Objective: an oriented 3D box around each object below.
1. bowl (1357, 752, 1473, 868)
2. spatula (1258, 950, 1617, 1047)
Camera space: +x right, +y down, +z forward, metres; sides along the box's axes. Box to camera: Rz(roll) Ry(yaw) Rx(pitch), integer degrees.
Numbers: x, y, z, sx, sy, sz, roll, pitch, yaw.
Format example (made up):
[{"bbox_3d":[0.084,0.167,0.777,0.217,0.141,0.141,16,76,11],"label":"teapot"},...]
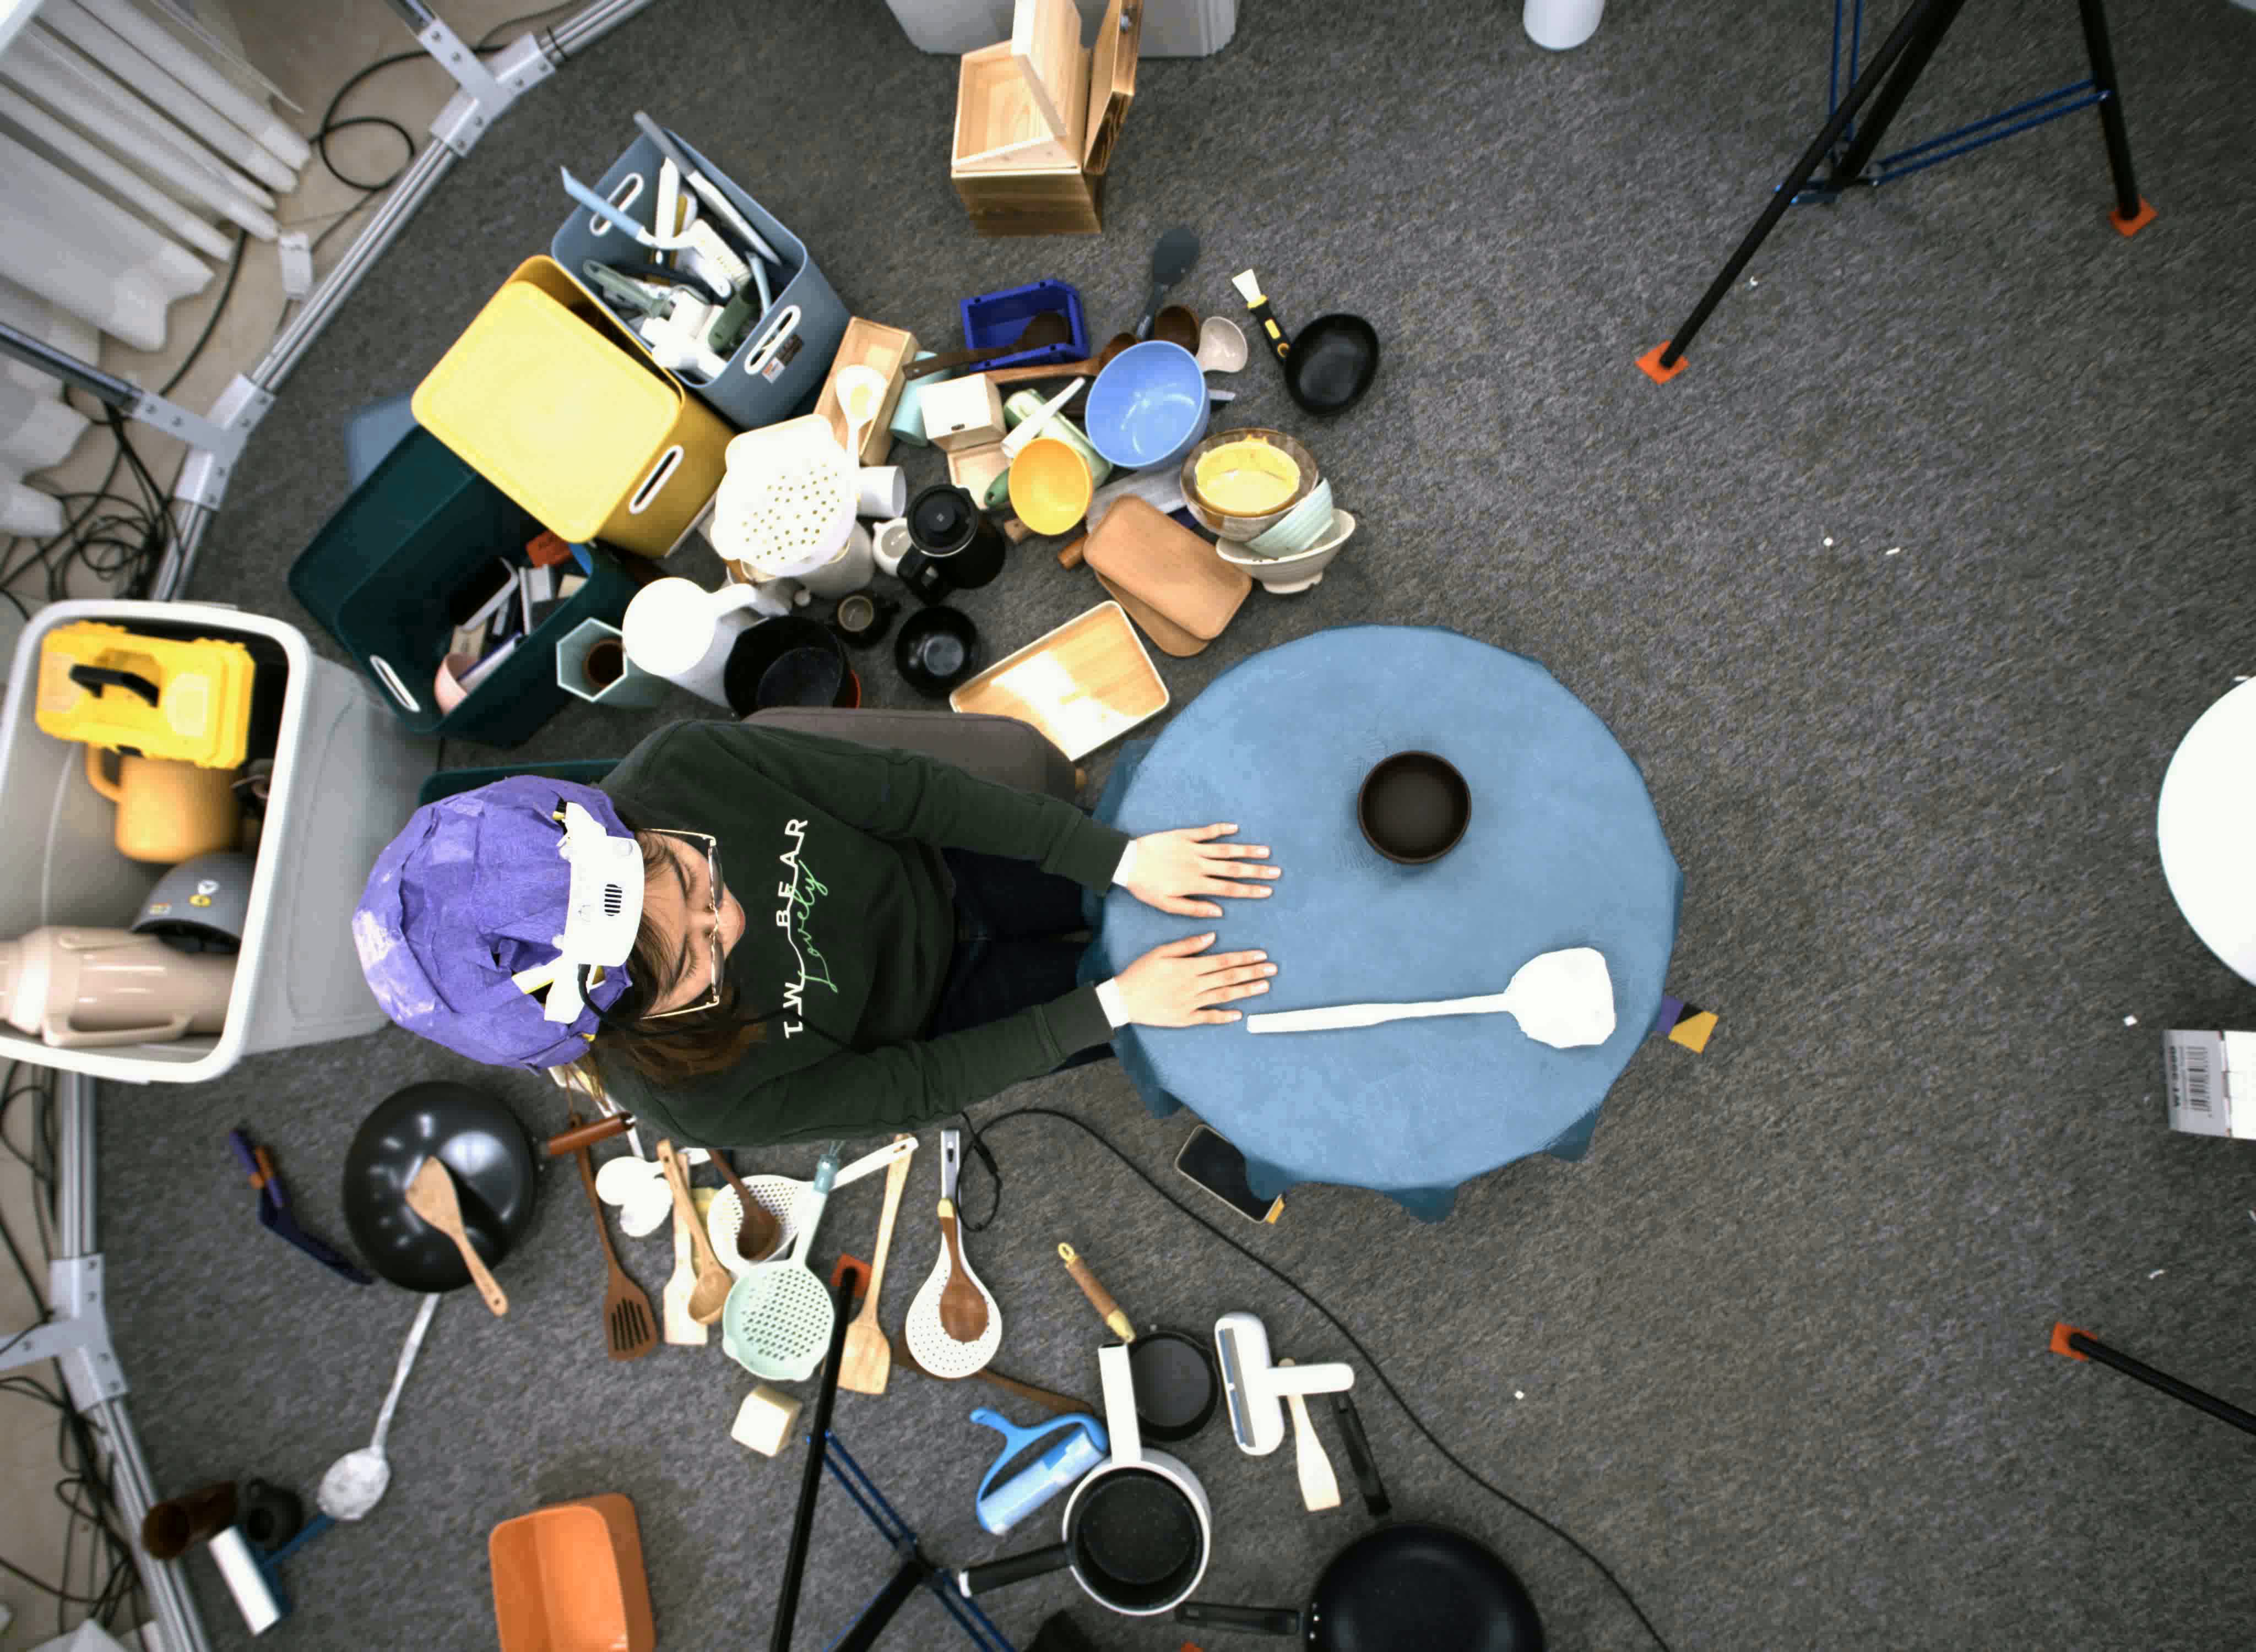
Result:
[{"bbox_3d":[0.297,-0.015,1.429,0.118,0.070,0.117,-1,84,11],"label":"bowl"},{"bbox_3d":[0.315,0.186,1.429,0.366,0.045,0.098,-5,87,10],"label":"spatula"}]
